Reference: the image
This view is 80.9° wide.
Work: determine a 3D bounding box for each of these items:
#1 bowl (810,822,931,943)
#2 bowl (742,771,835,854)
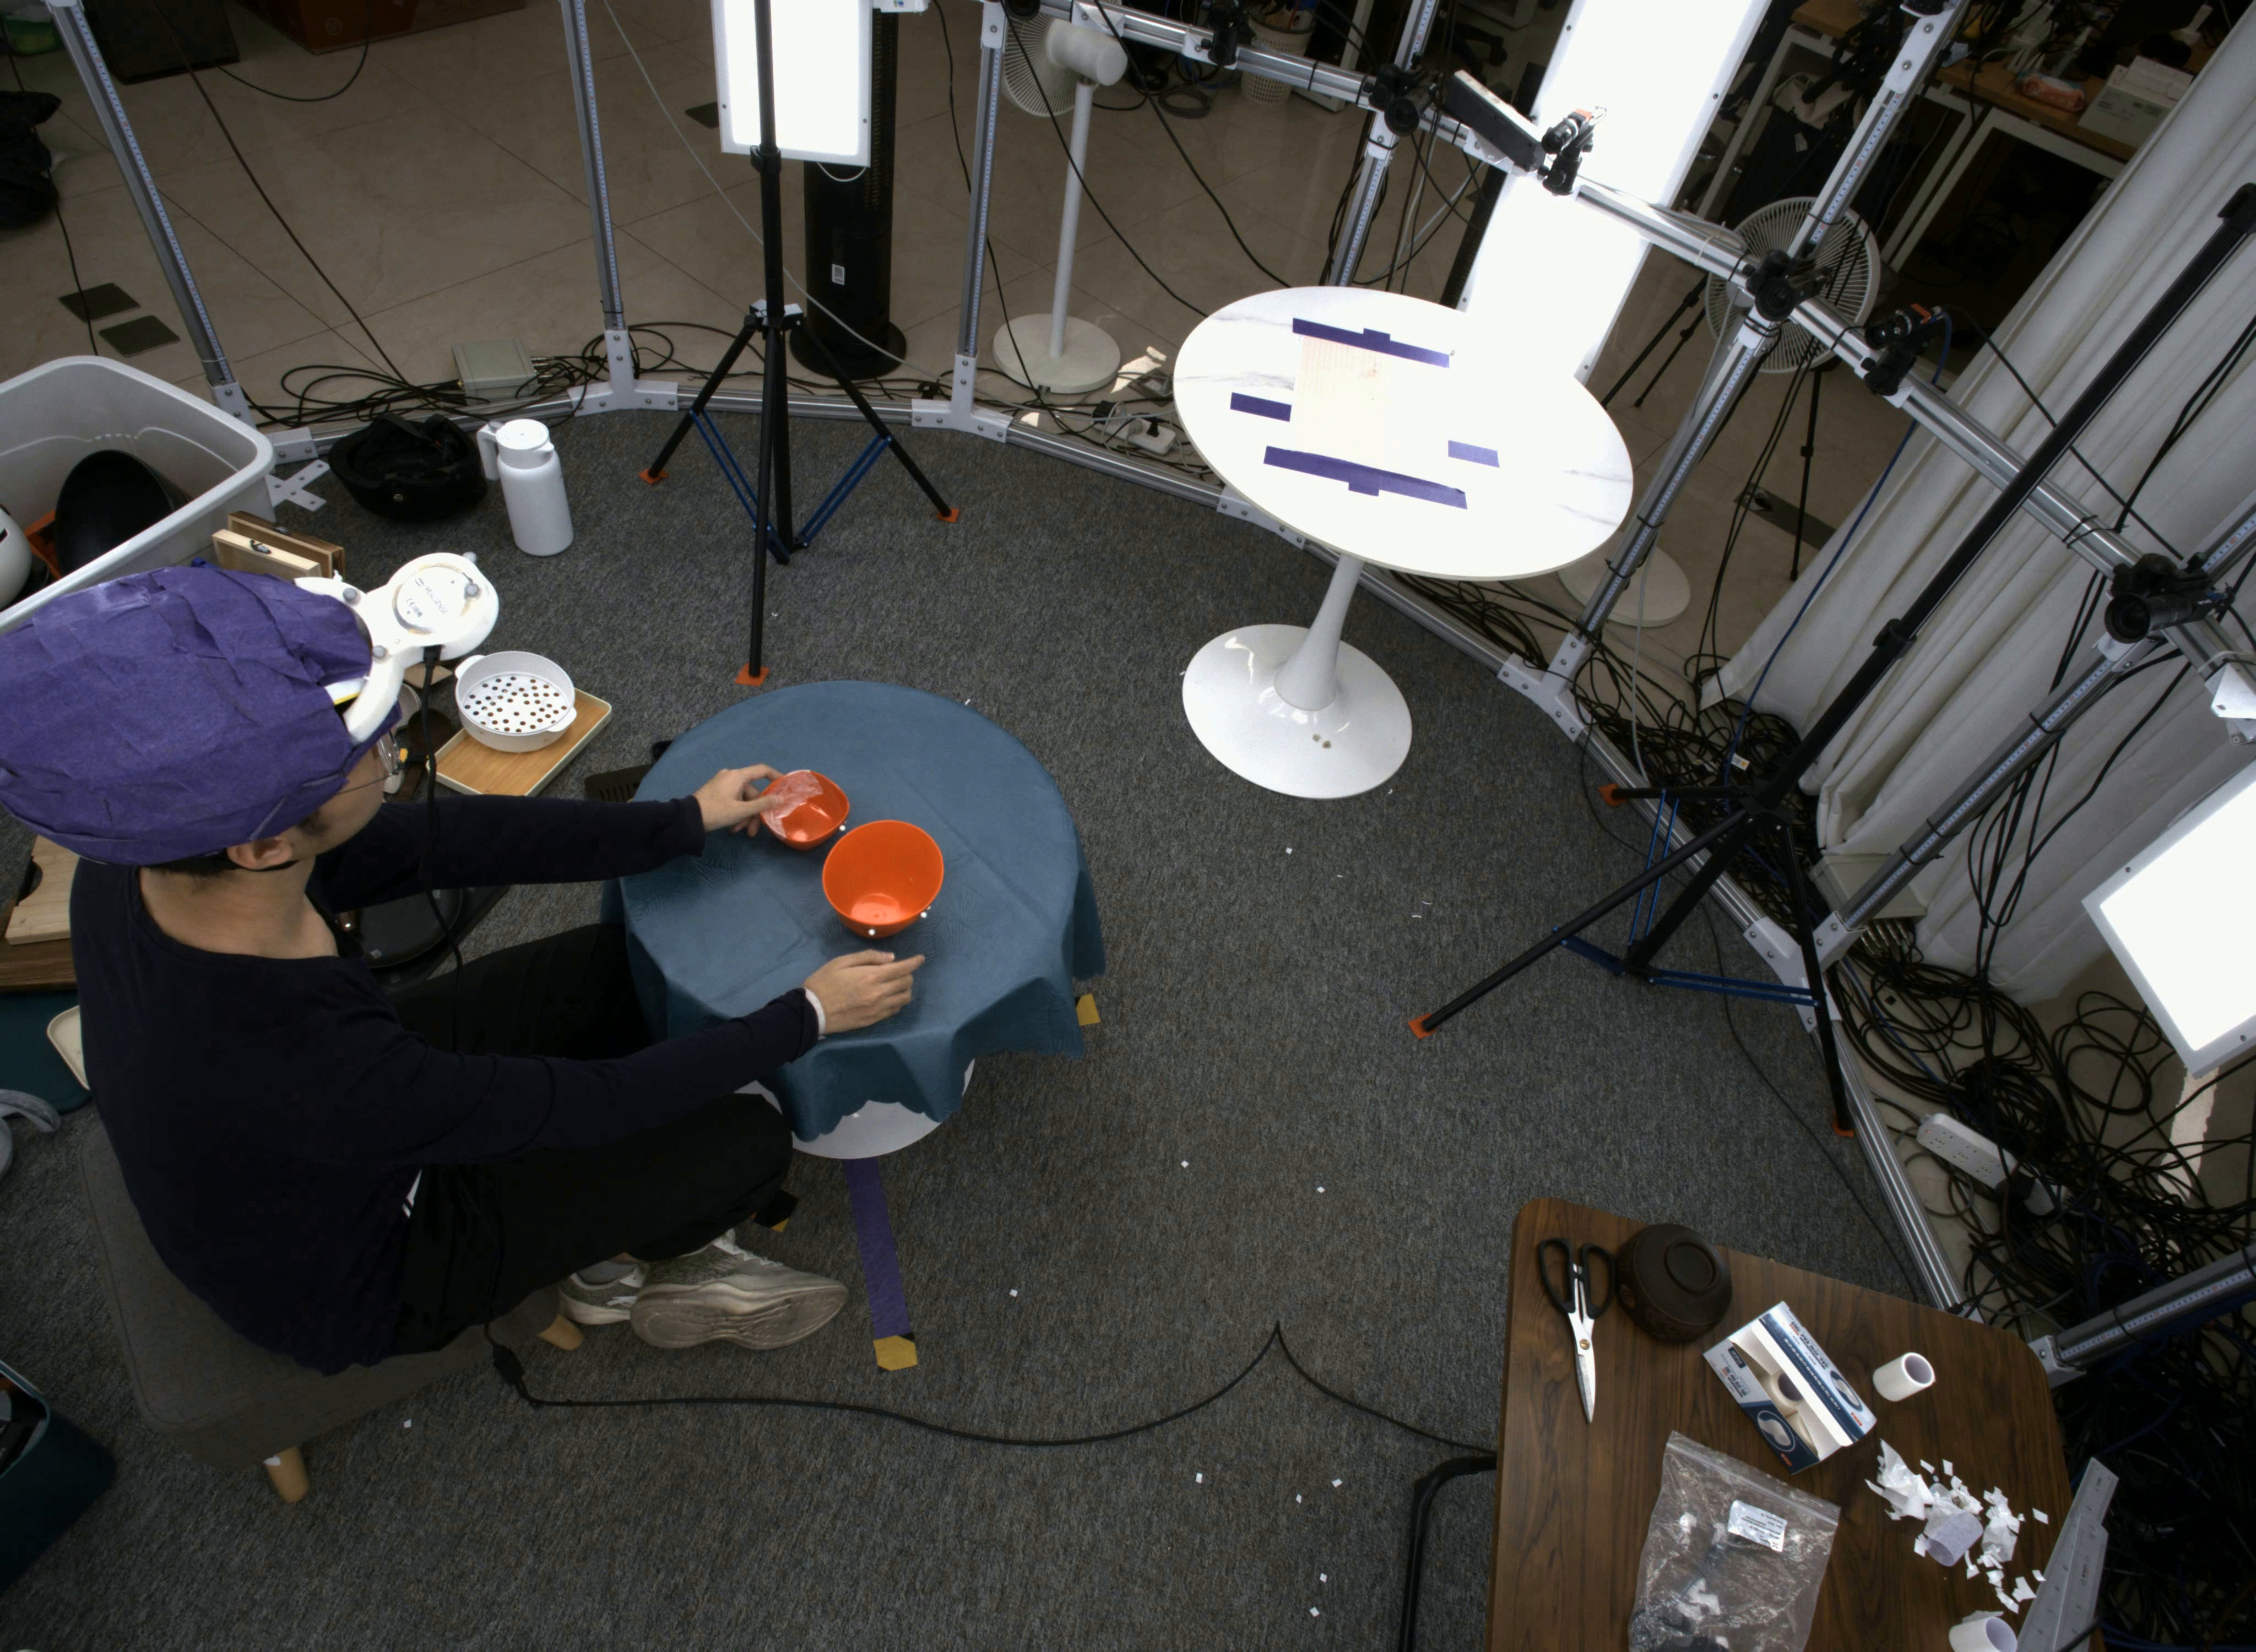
[{"bbox_3d":[-0.324,0.083,1.634,0.148,0.107,0.145,8,52,-8],"label":"bowl"},{"bbox_3d":[-0.447,-0.011,1.704,0.119,0.052,0.117,9,53,-10],"label":"bowl"}]
